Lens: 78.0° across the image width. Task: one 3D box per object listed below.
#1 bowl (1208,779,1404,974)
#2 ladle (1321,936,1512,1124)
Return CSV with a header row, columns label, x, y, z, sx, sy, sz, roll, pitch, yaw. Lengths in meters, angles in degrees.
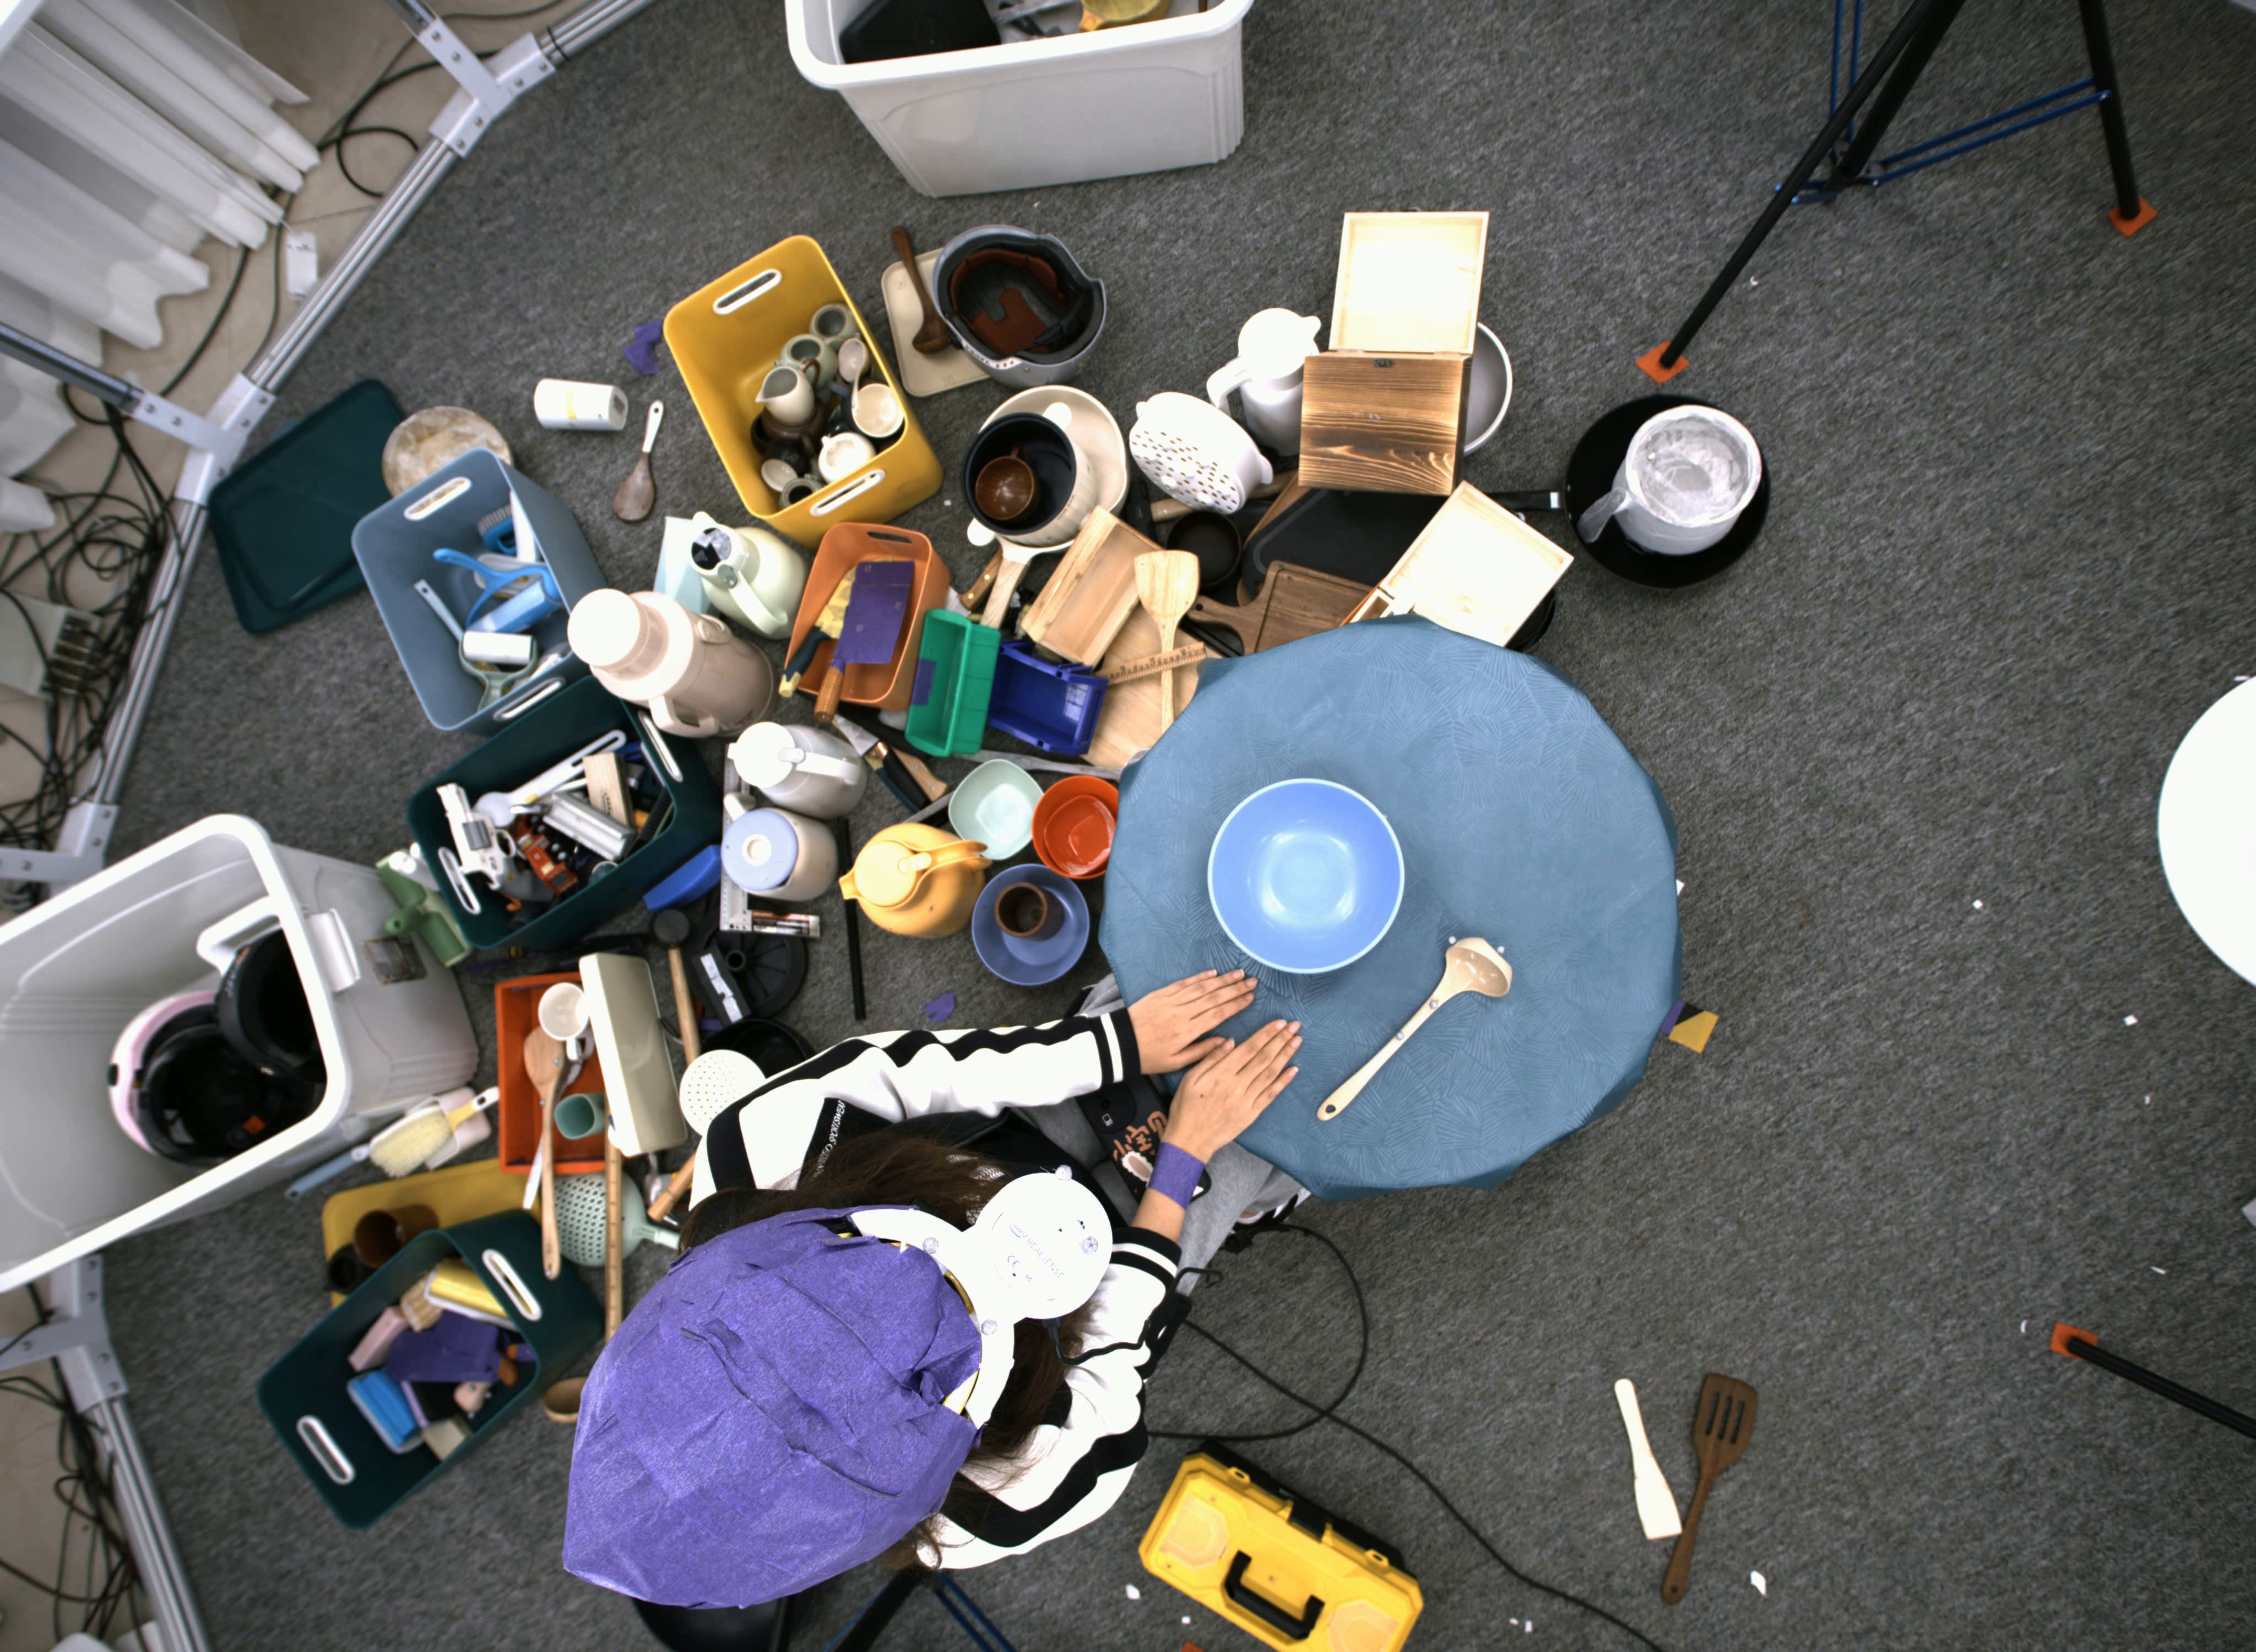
label,x,y,z,sx,sy,sz,roll,pitch,yaw
bowl,0.185,0.053,1.432,0.197,0.095,0.196,-1,88,10
ladle,0.290,0.217,1.412,0.072,0.072,0.255,42,95,-1
